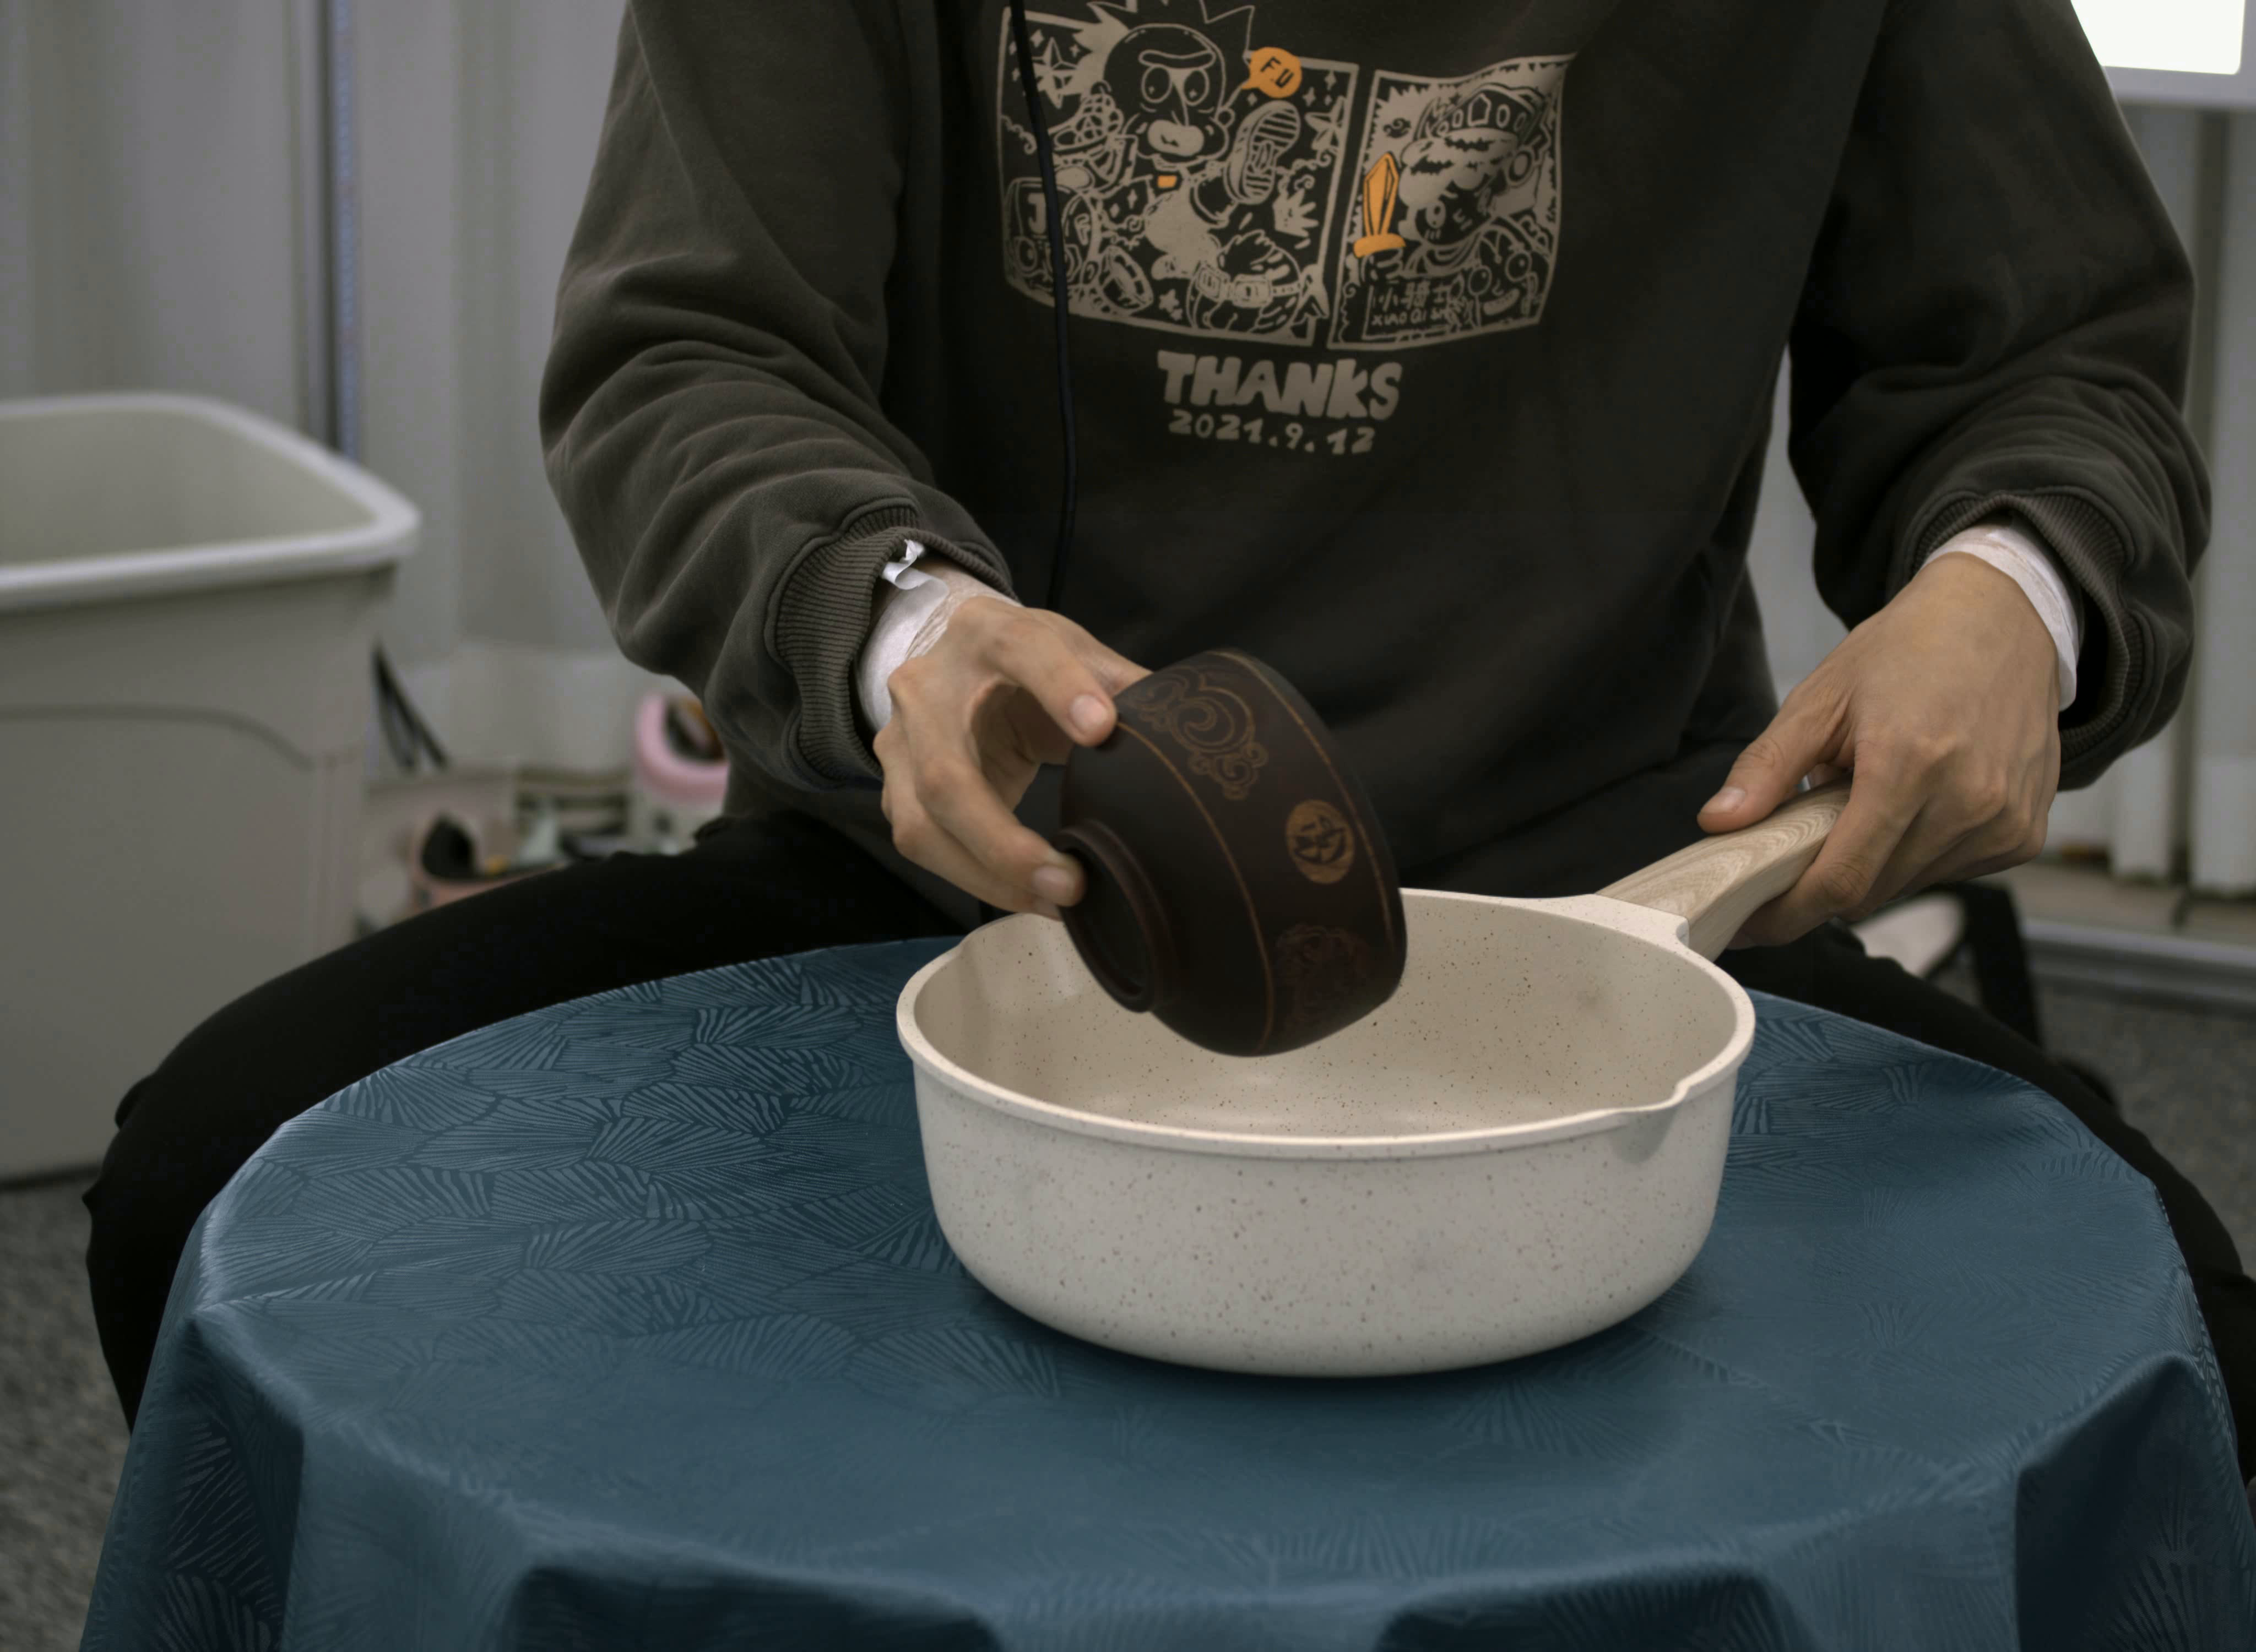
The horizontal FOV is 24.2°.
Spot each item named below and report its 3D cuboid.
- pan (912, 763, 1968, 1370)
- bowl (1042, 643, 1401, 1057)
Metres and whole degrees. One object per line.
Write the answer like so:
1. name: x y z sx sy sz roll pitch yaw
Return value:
1. pan: 0.126 0.067 1.614 0.260 0.103 0.437 13 19 42
2. bowl: 0.019 0.013 1.515 0.070 0.119 0.116 -26 26 -23
